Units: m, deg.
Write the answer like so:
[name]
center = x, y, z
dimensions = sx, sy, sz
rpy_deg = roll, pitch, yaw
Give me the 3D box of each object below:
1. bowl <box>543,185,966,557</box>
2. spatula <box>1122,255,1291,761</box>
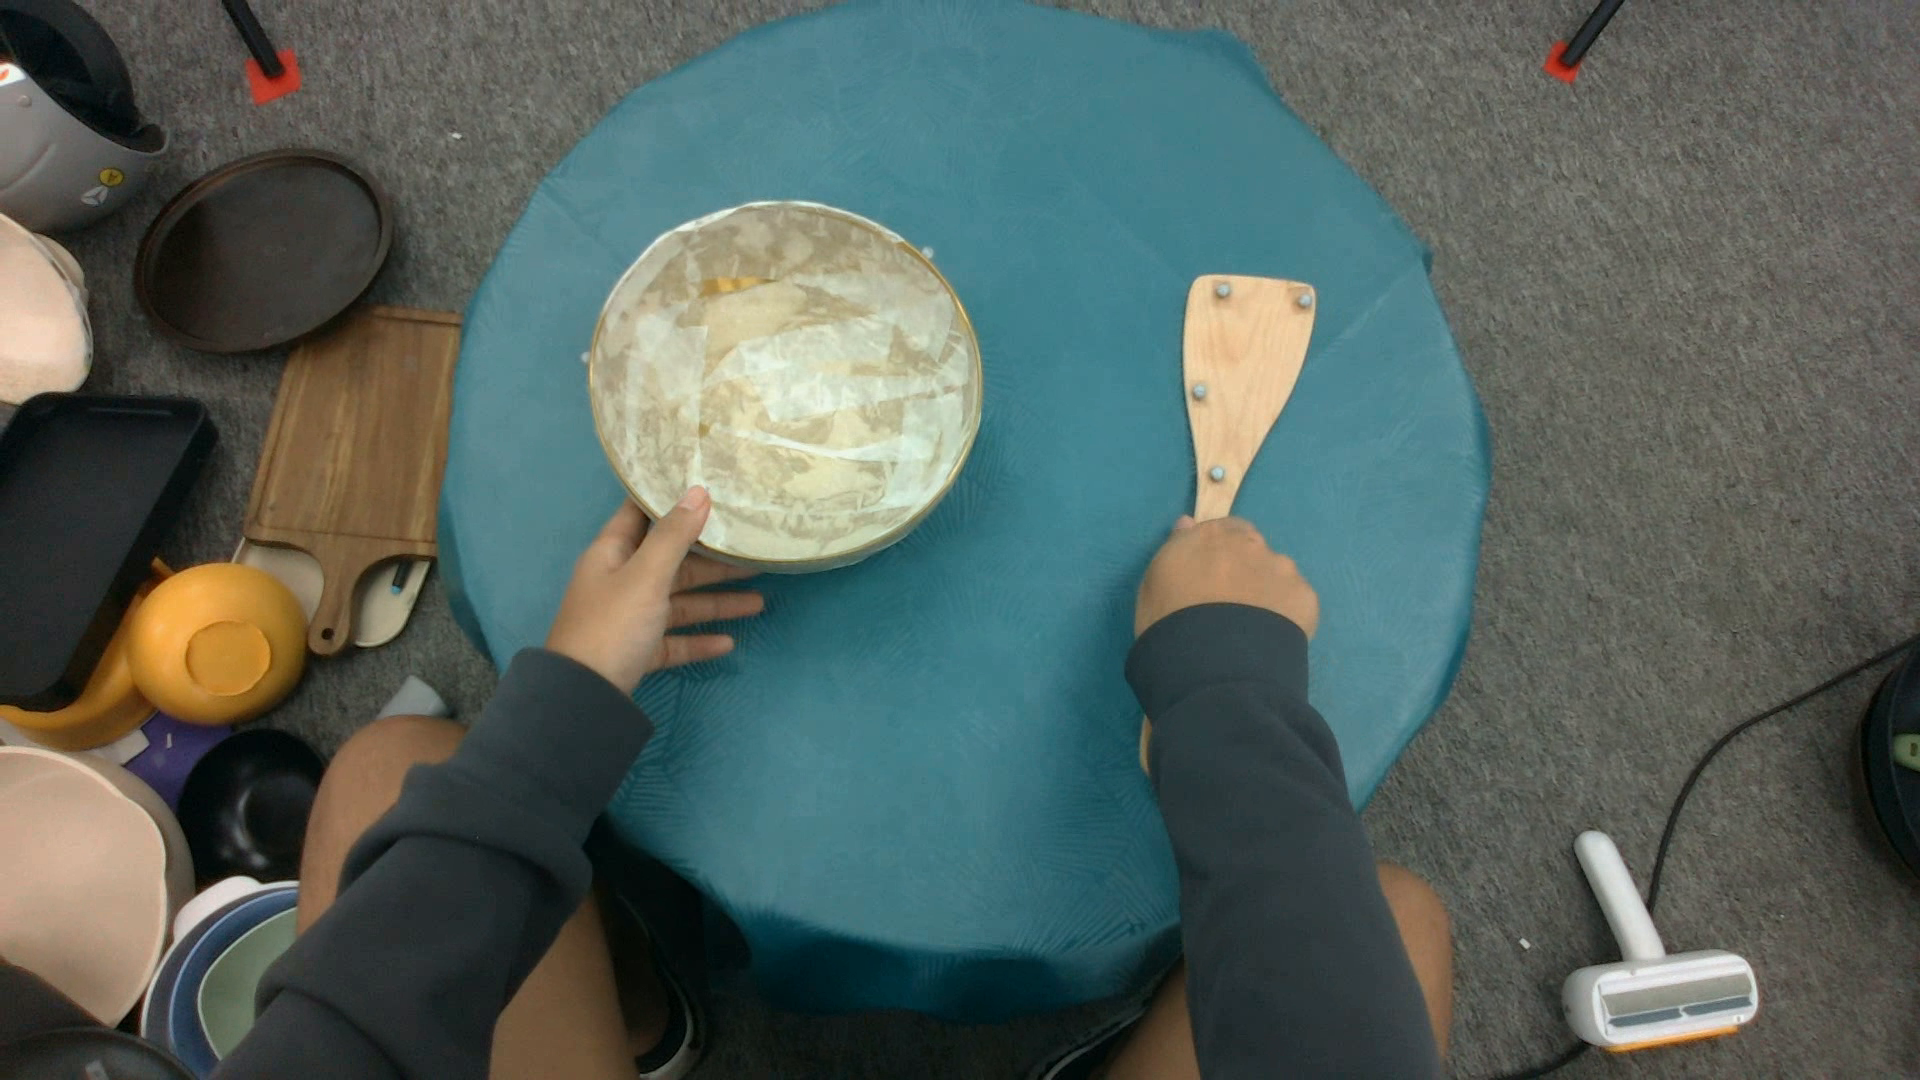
[bowl]
center = -0.104, -0.075, 0.735
dimensions = 0.215, 0.094, 0.215
rpy_deg = 2, 70, -7
[spatula]
center = 0.131, -0.031, 0.783
dimensions = 0.080, 0.016, 0.329
rpy_deg = 15, 64, -1
